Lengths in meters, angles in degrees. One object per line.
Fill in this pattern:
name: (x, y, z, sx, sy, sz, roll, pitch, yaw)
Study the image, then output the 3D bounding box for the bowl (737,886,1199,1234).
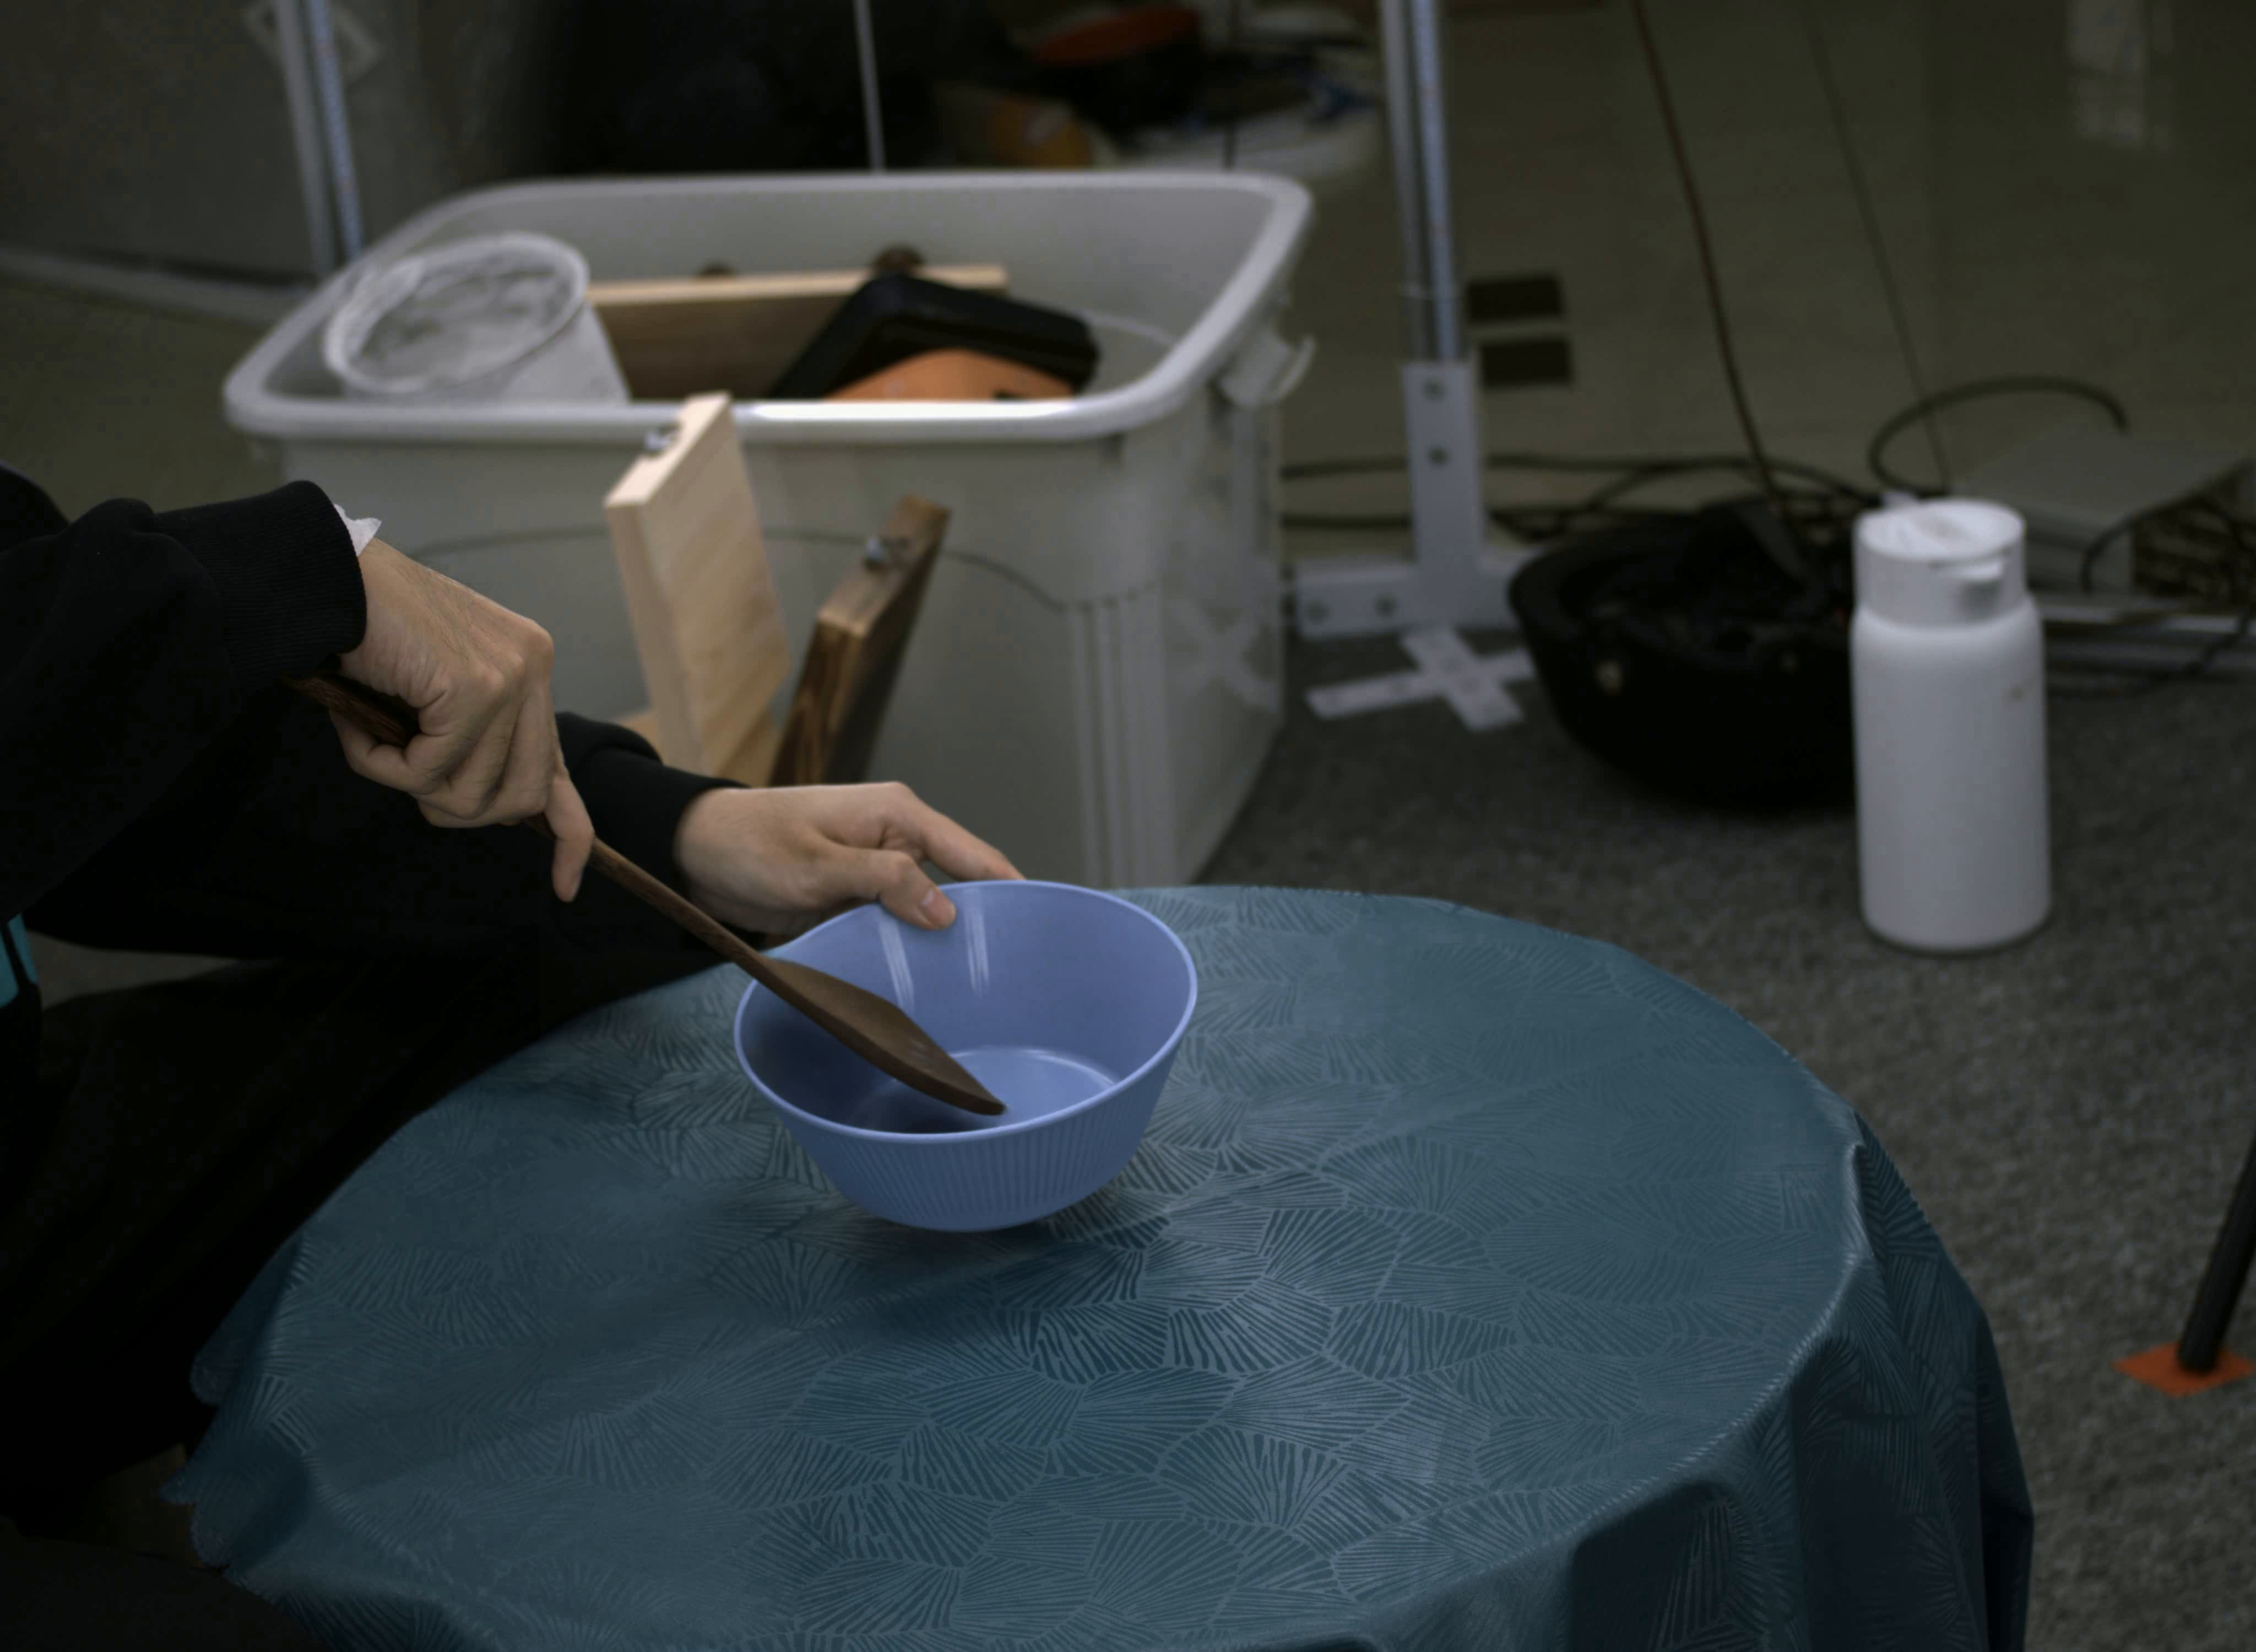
bowl: (-0.056, 0.095, 2.139, 0.176, 0.071, 0.173, -6, 30, 4)

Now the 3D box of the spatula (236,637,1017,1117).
spatula: (-0.177, 0.018, 2.032, 0.016, 0.390, 0.095, -53, 43, 2)
